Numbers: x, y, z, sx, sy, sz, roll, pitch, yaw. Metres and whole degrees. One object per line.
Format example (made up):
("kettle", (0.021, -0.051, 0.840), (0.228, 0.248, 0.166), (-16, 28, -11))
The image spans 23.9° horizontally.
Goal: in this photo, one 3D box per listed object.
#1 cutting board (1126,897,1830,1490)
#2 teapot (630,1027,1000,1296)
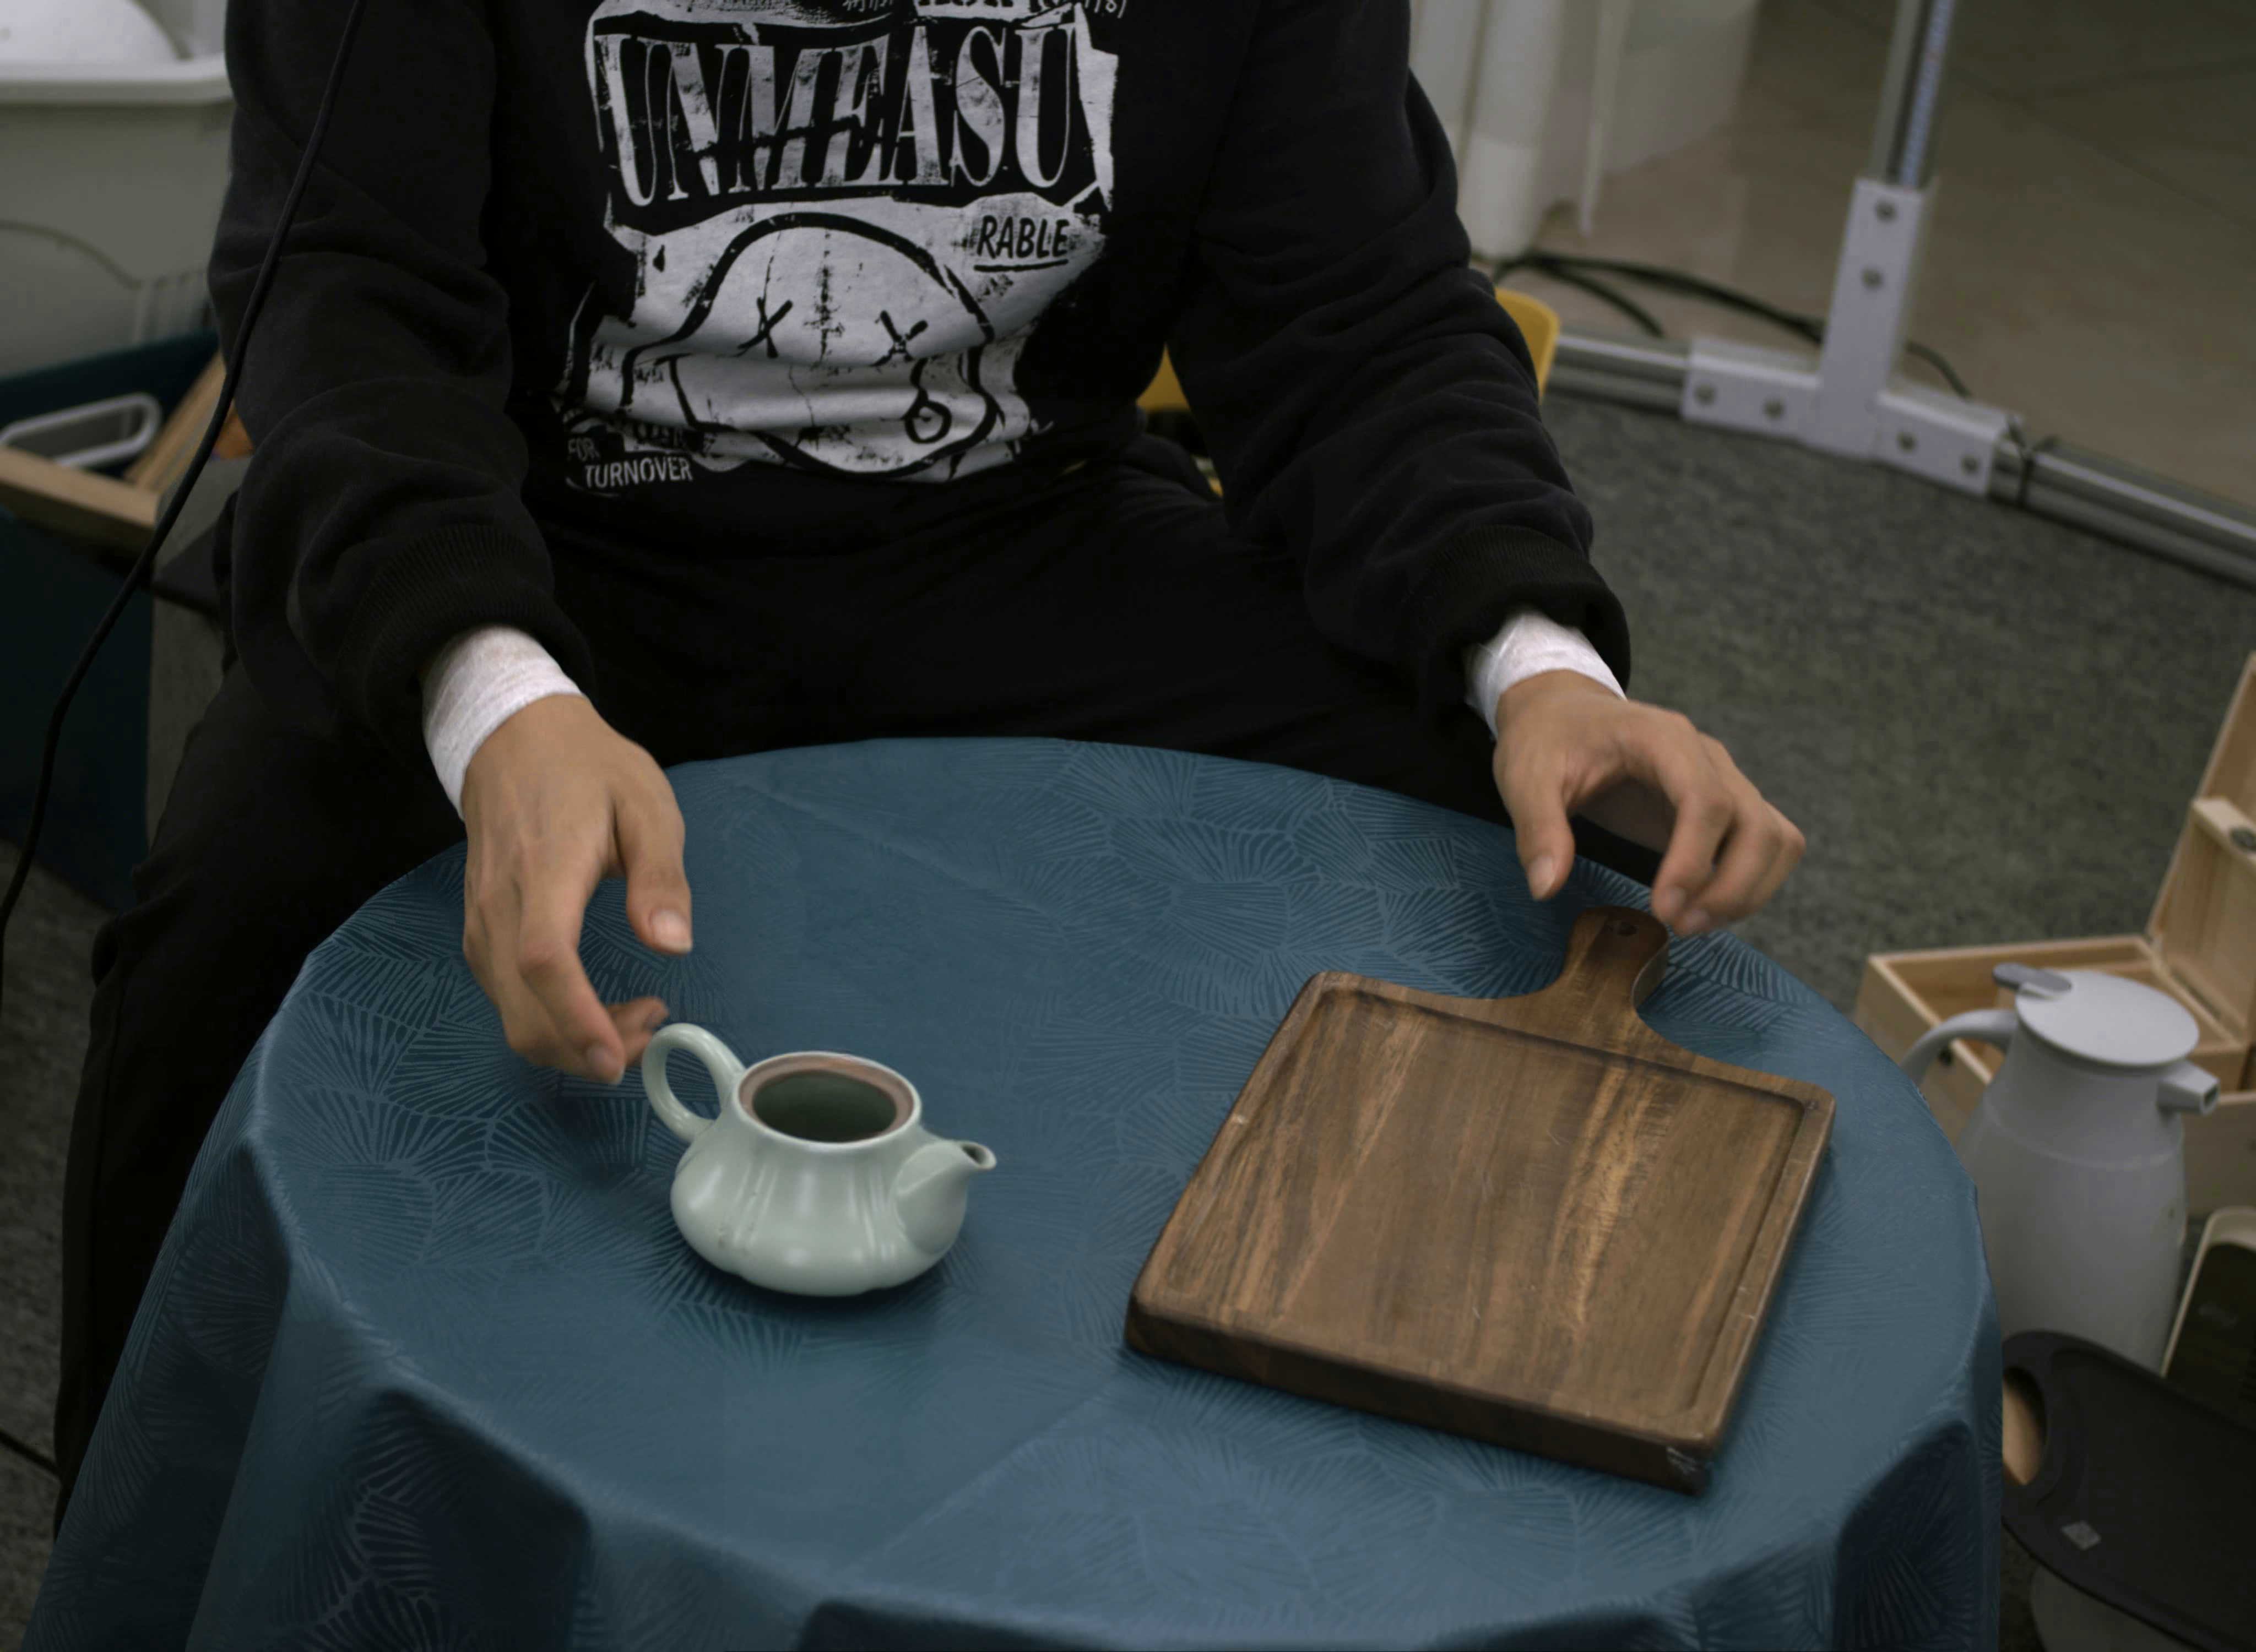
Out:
("cutting board", (0.136, 0.110, 1.839), (0.201, 0.023, 0.353), (13, 28, 11))
("teapot", (-0.105, 0.110, 1.742), (0.137, 0.061, 0.096), (20, 31, 23))
